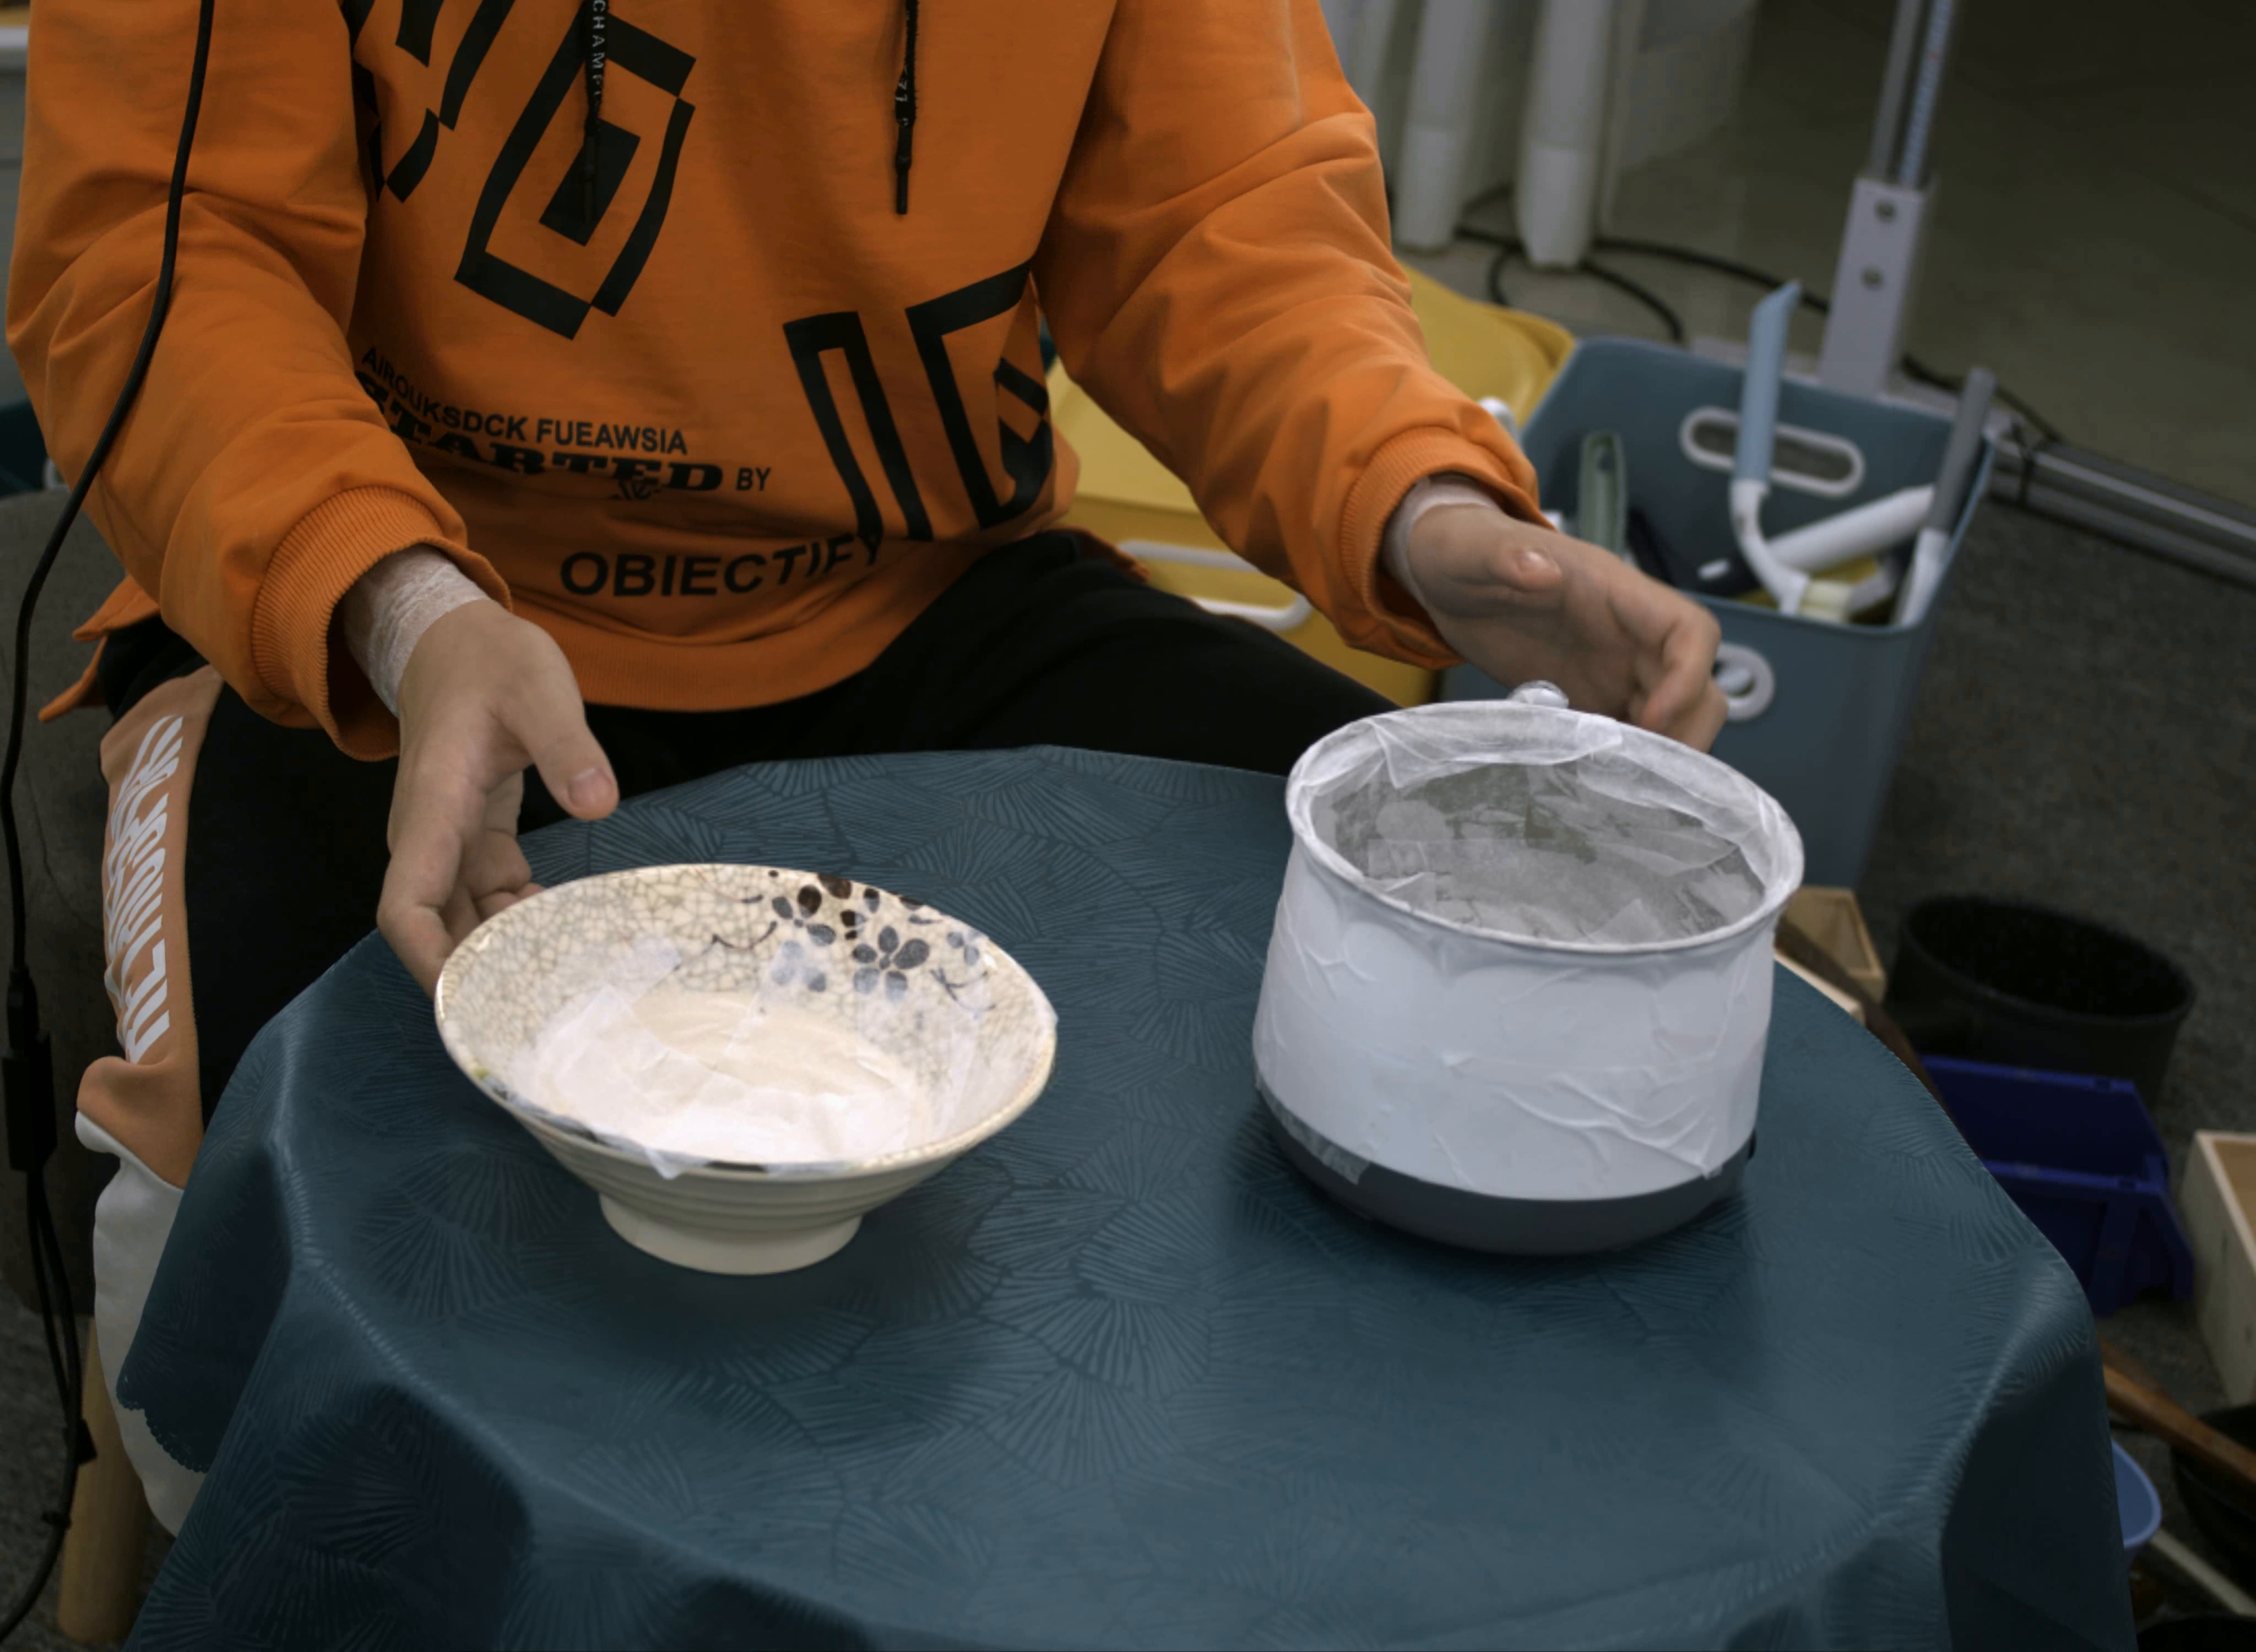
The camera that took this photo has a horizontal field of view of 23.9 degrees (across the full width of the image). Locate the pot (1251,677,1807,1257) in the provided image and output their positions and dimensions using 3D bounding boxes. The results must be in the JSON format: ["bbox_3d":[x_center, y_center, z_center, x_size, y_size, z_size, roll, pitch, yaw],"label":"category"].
[{"bbox_3d":[0.134,0.041,1.843,0.178,0.136,0.235,7,27,-1],"label":"pot"}]

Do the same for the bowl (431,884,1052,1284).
[{"bbox_3d":[-0.129,0.096,1.748,0.203,0.078,0.205,5,24,-2],"label":"bowl"}]
